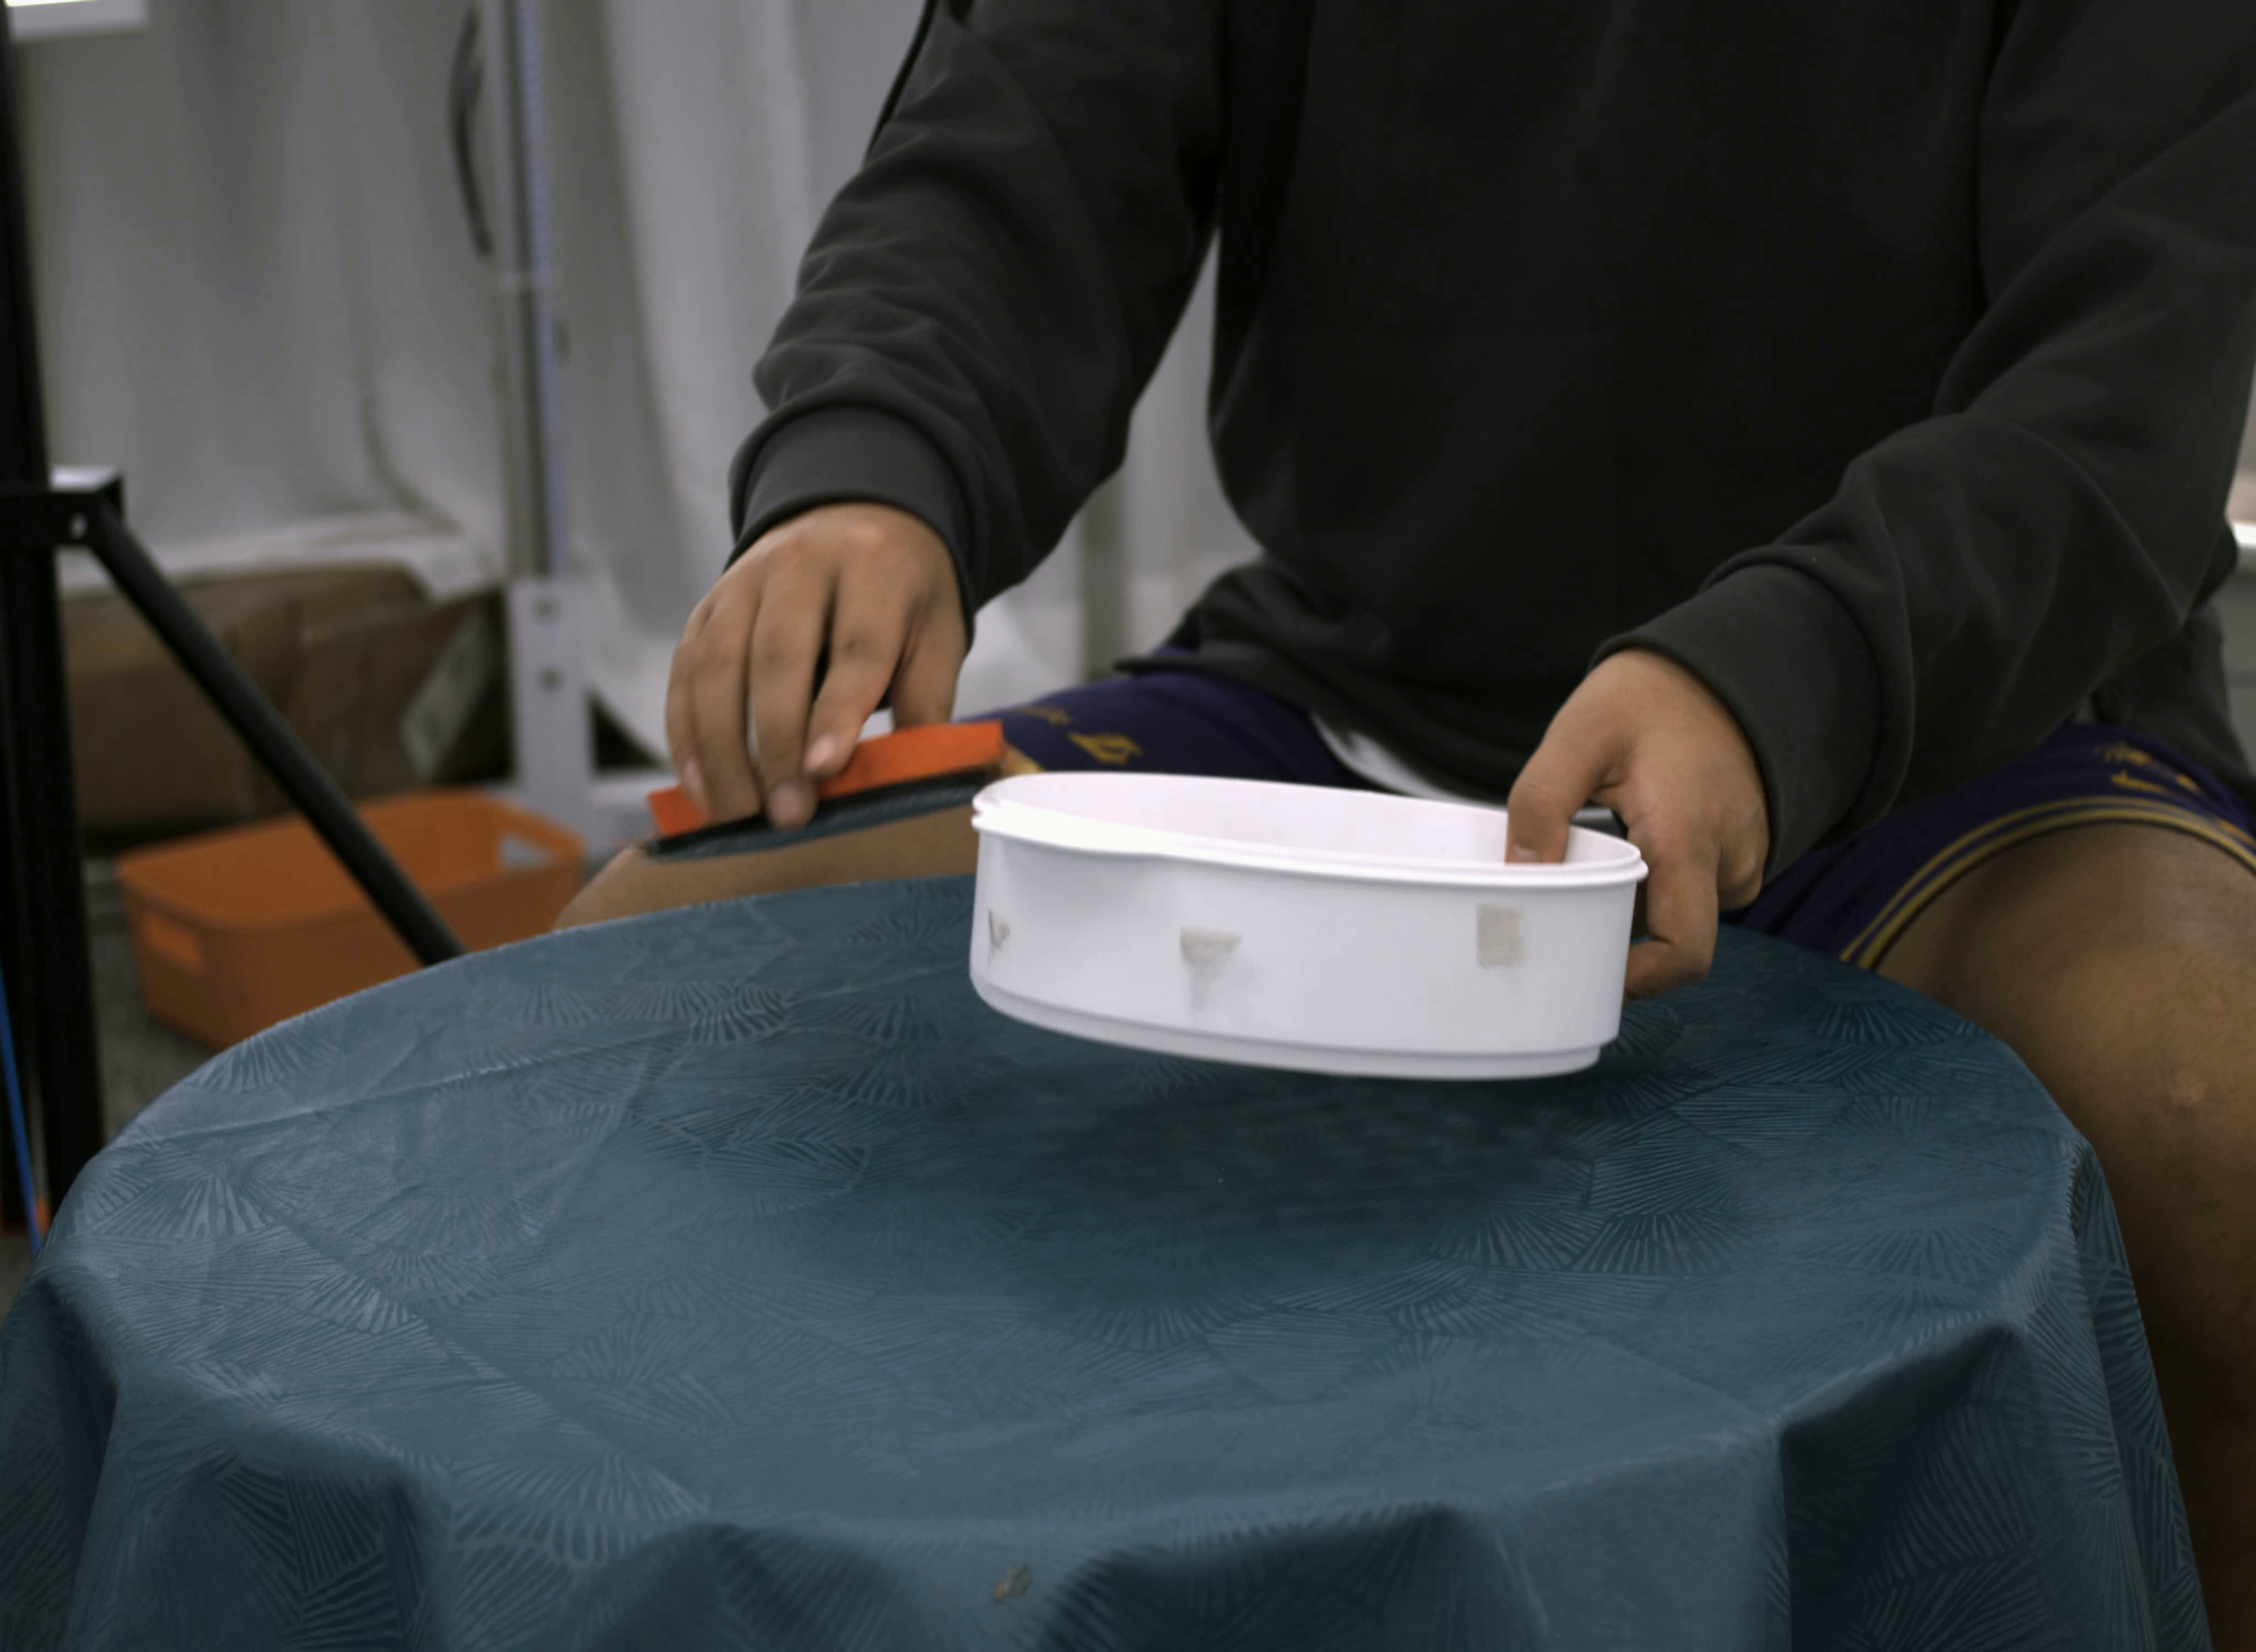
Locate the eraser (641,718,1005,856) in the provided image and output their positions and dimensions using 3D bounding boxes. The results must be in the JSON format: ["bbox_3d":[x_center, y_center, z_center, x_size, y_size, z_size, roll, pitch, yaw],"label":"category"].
[{"bbox_3d":[-0.095,-0.011,1.650,0.110,0.023,0.057,-14,-10,35],"label":"eraser"}]

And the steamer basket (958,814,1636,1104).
[{"bbox_3d":[0.047,0.040,1.571,0.224,0.069,0.206,4,2,-42],"label":"steamer basket"}]
